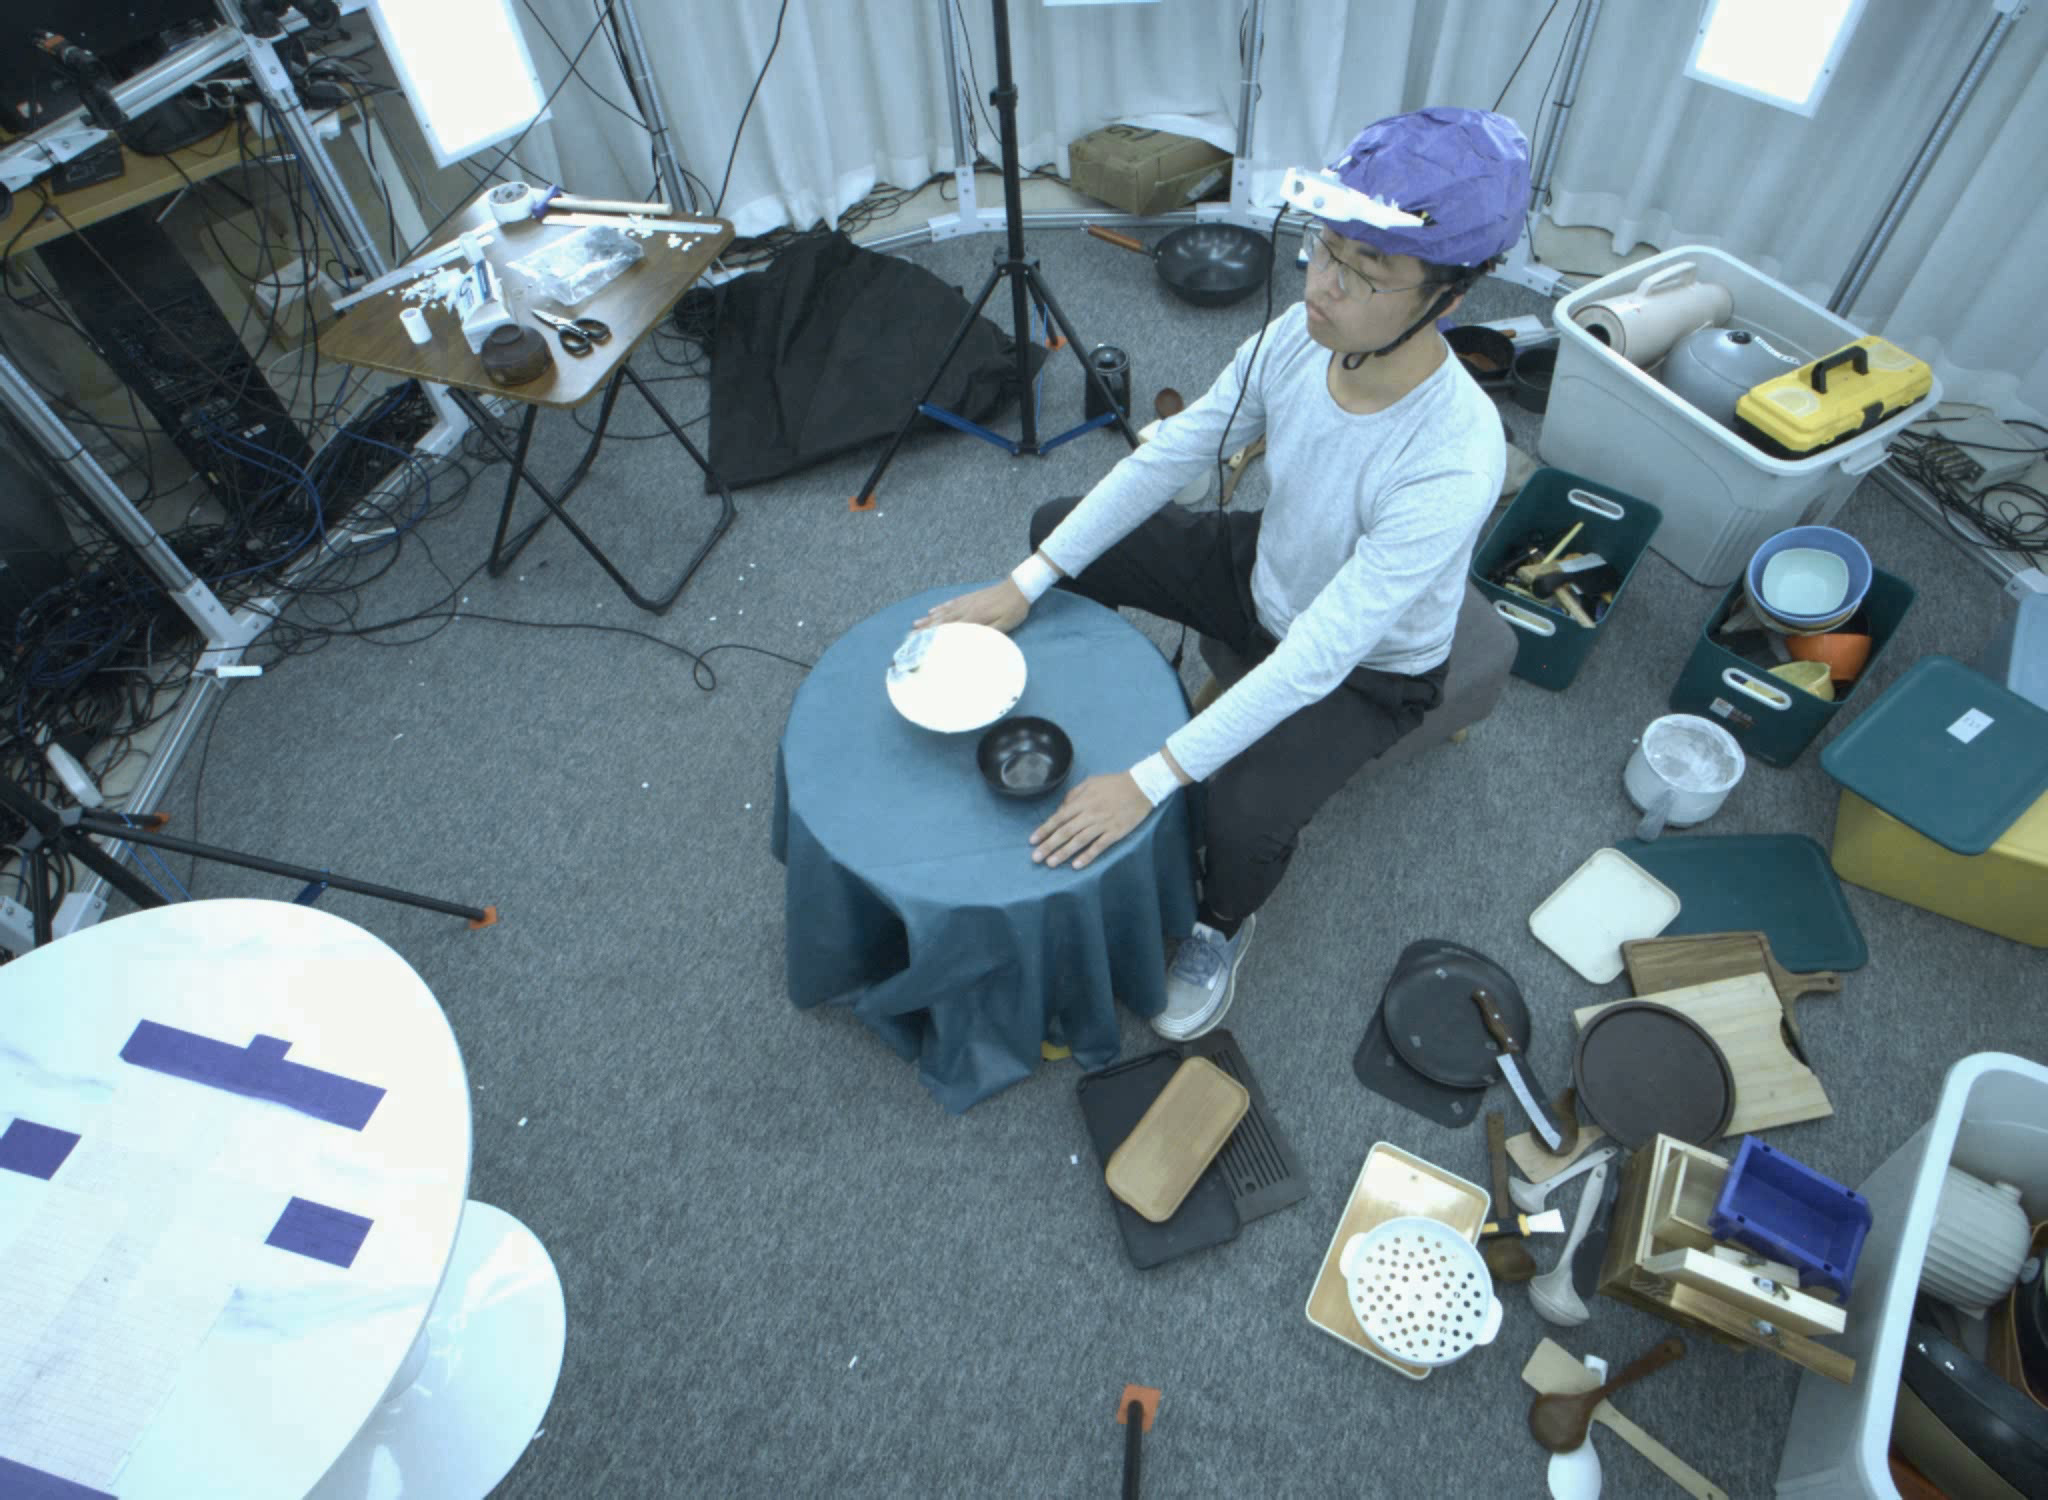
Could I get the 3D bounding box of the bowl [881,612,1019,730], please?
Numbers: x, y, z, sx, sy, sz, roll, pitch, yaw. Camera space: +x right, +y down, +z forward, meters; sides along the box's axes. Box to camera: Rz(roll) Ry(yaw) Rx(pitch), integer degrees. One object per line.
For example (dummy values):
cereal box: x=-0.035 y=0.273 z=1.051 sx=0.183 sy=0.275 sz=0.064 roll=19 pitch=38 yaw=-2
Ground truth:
bowl: x=-0.104 y=-0.099 z=1.806 sx=0.203 sy=0.079 sz=0.202 roll=-3 pitch=60 yaw=6

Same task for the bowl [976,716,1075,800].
bowl: x=0.002 y=0.020 z=1.754 sx=0.140 sy=0.050 sz=0.138 roll=3 pitch=54 yaw=-3
